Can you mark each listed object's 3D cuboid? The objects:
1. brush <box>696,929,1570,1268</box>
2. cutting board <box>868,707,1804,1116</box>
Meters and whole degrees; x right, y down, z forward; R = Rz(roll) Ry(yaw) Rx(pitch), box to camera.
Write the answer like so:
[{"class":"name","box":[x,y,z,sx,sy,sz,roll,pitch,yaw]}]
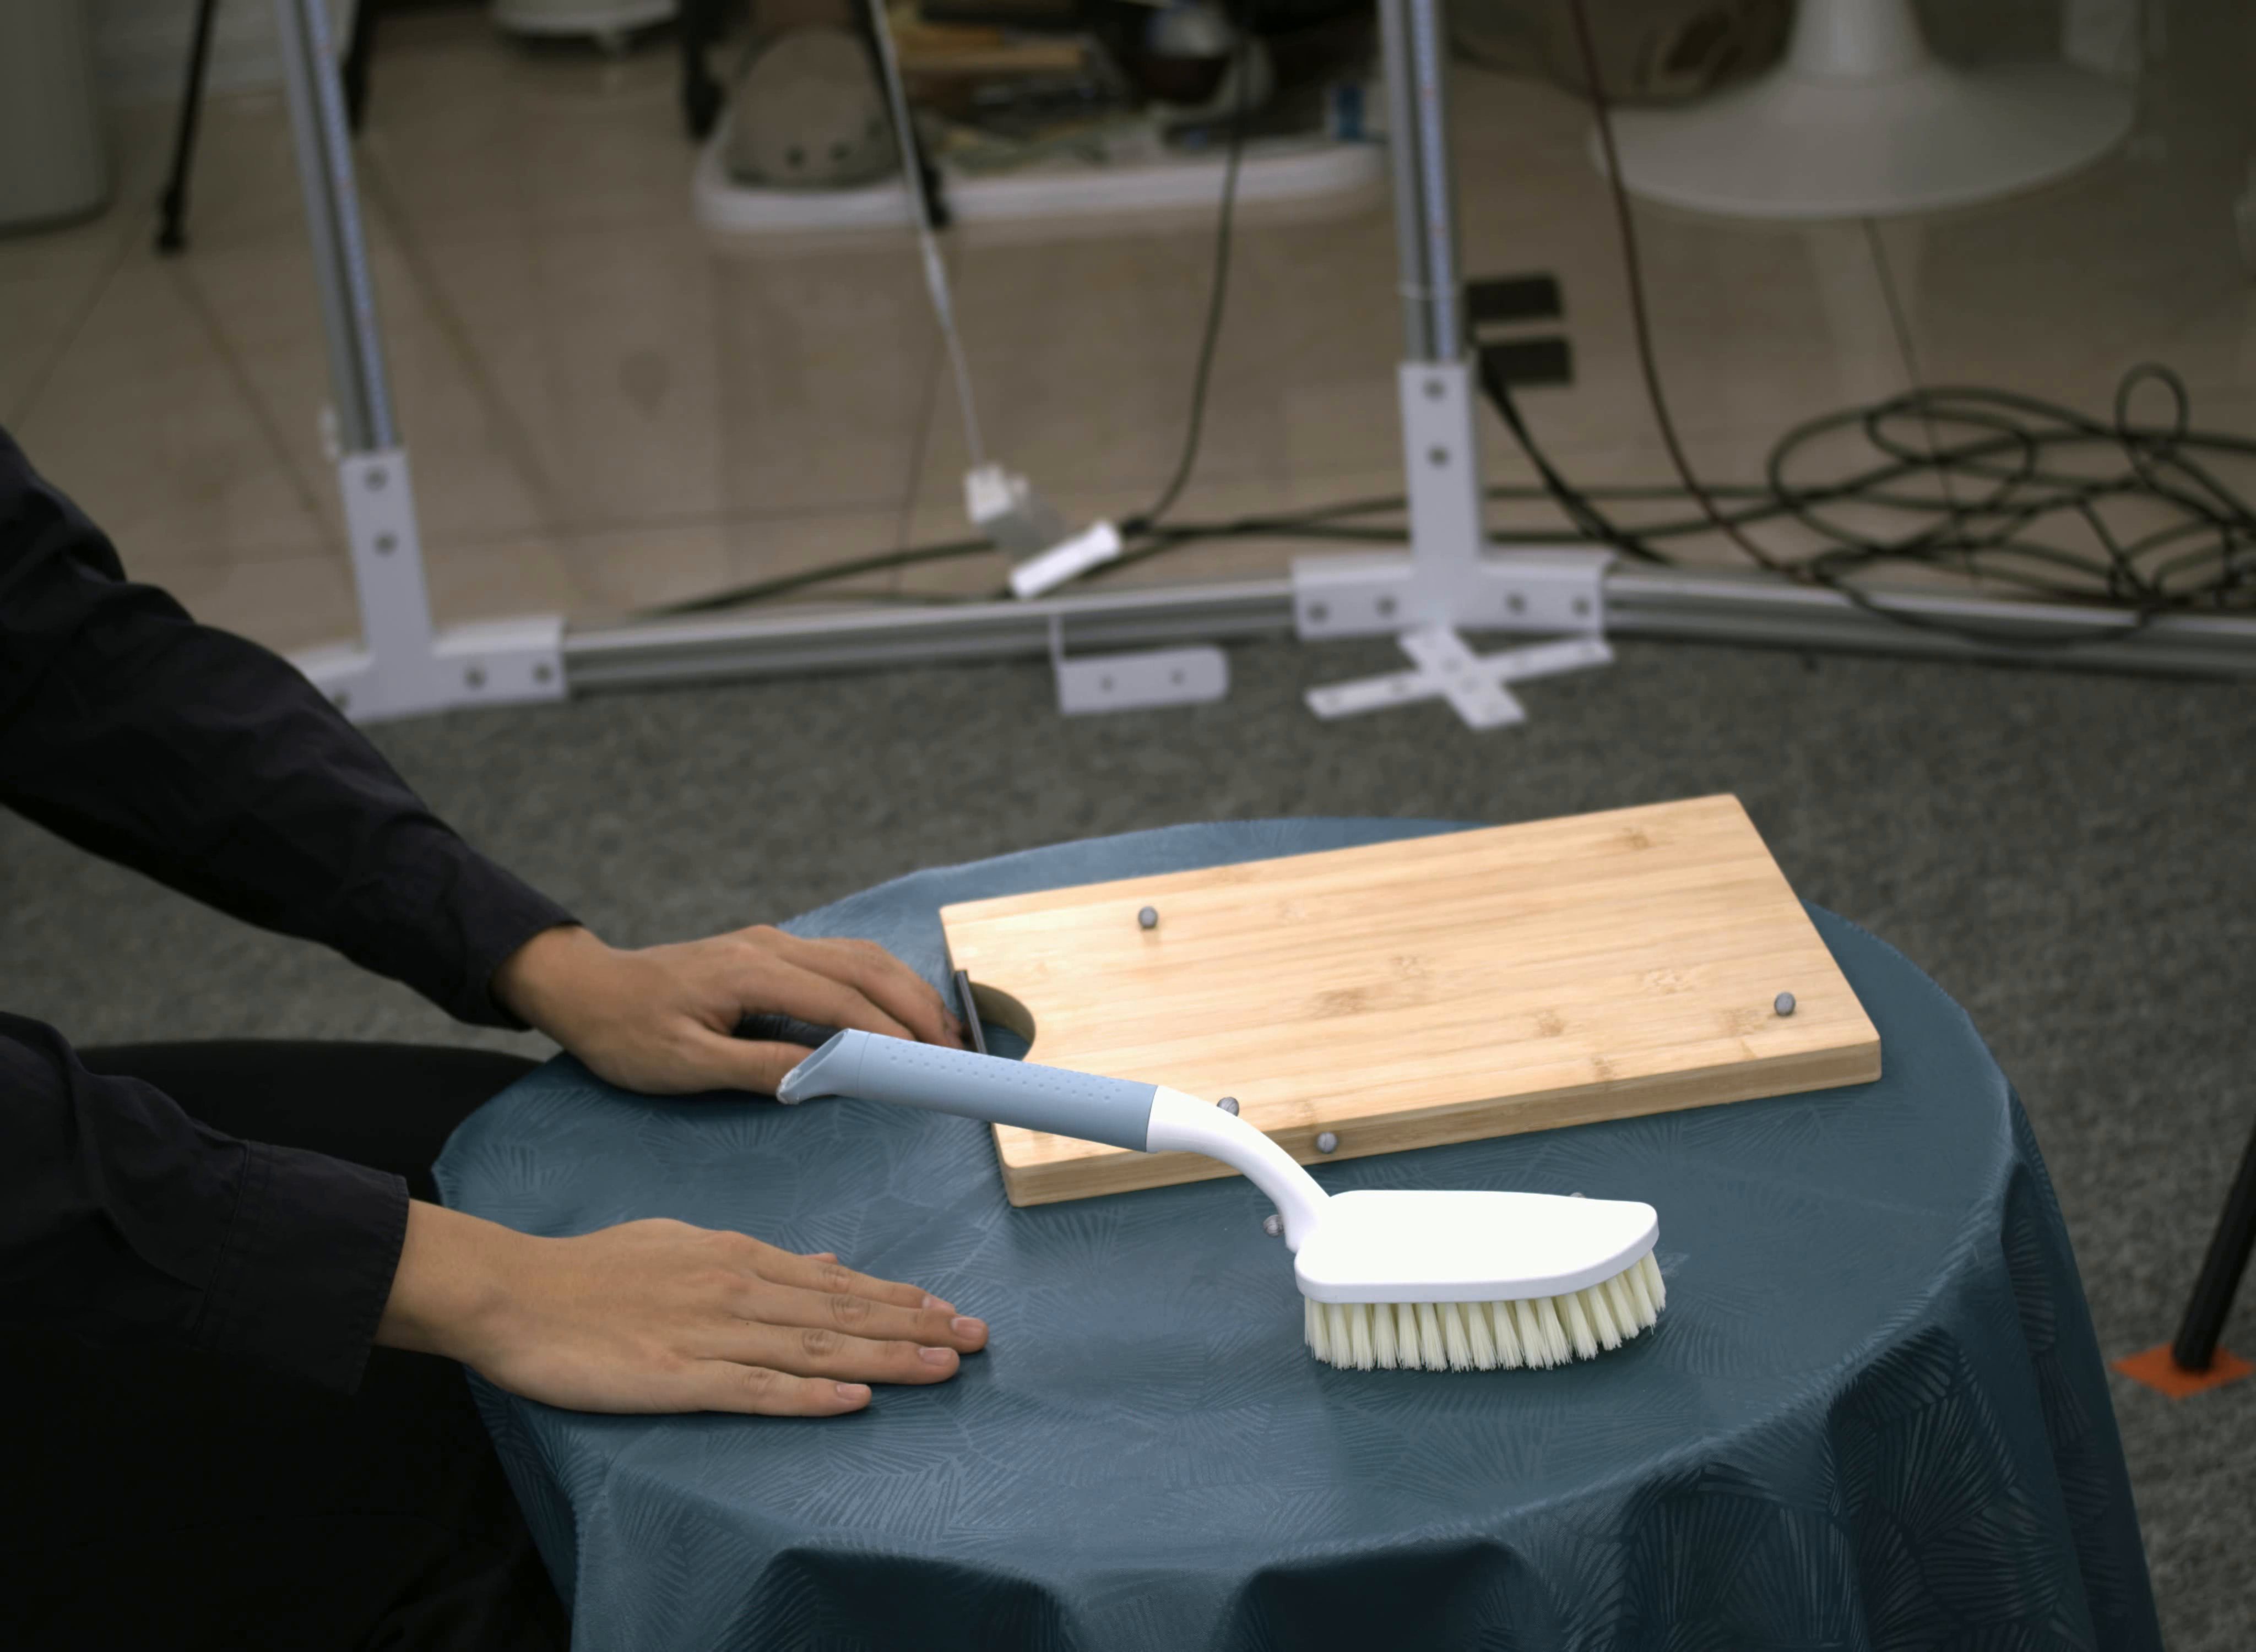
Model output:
[{"class":"brush","box":[-0.001,0.109,2.061,0.324,0.084,0.083,11,-9,7]},{"class":"cutting board","box":[0.079,0.031,2.283,0.348,0.024,0.247,-9,25,-6]}]
